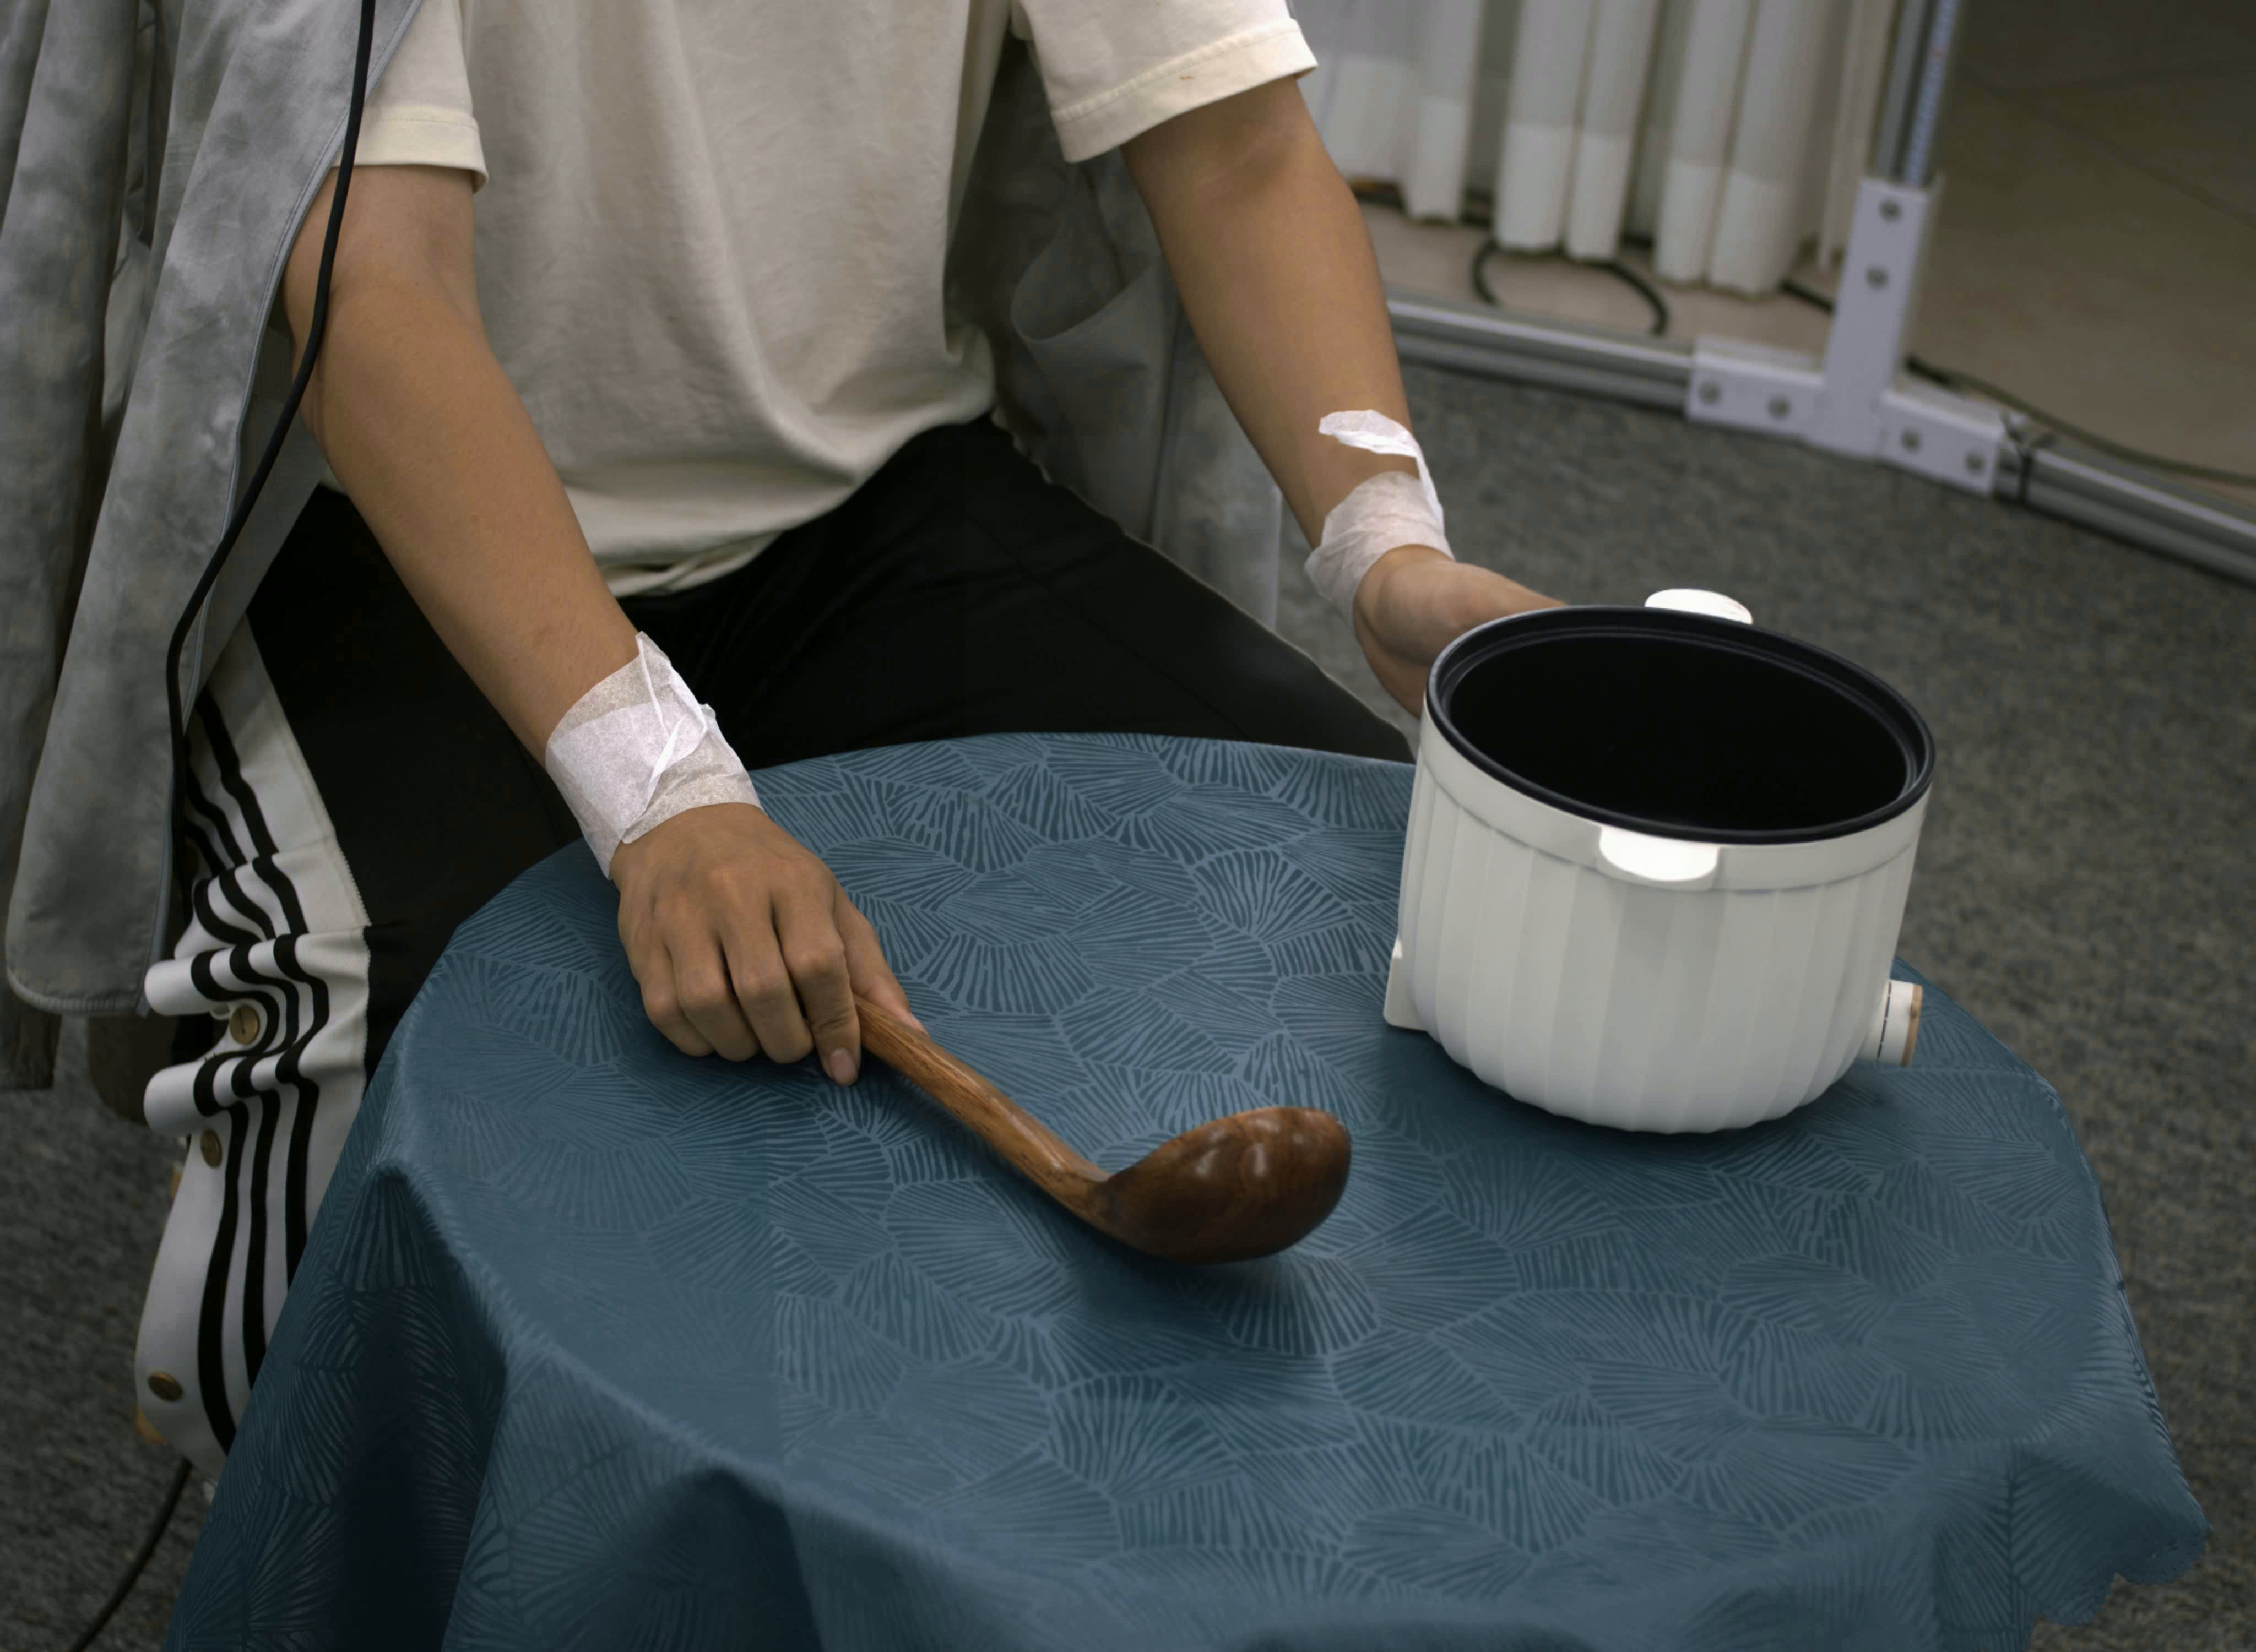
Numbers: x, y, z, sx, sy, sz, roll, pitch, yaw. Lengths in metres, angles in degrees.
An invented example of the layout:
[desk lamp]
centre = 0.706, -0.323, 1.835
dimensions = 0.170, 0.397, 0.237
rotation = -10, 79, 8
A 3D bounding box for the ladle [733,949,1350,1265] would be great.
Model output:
[ladle]
centre = -0.035, 0.075, 1.811
dimensions = 0.276, 0.076, 0.081
rotation = 32, 5, 42

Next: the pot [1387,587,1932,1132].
[pot]
centre = 0.192, 0.020, 1.899
dimensions = 0.190, 0.142, 0.241
rotation = 6, 27, 7
